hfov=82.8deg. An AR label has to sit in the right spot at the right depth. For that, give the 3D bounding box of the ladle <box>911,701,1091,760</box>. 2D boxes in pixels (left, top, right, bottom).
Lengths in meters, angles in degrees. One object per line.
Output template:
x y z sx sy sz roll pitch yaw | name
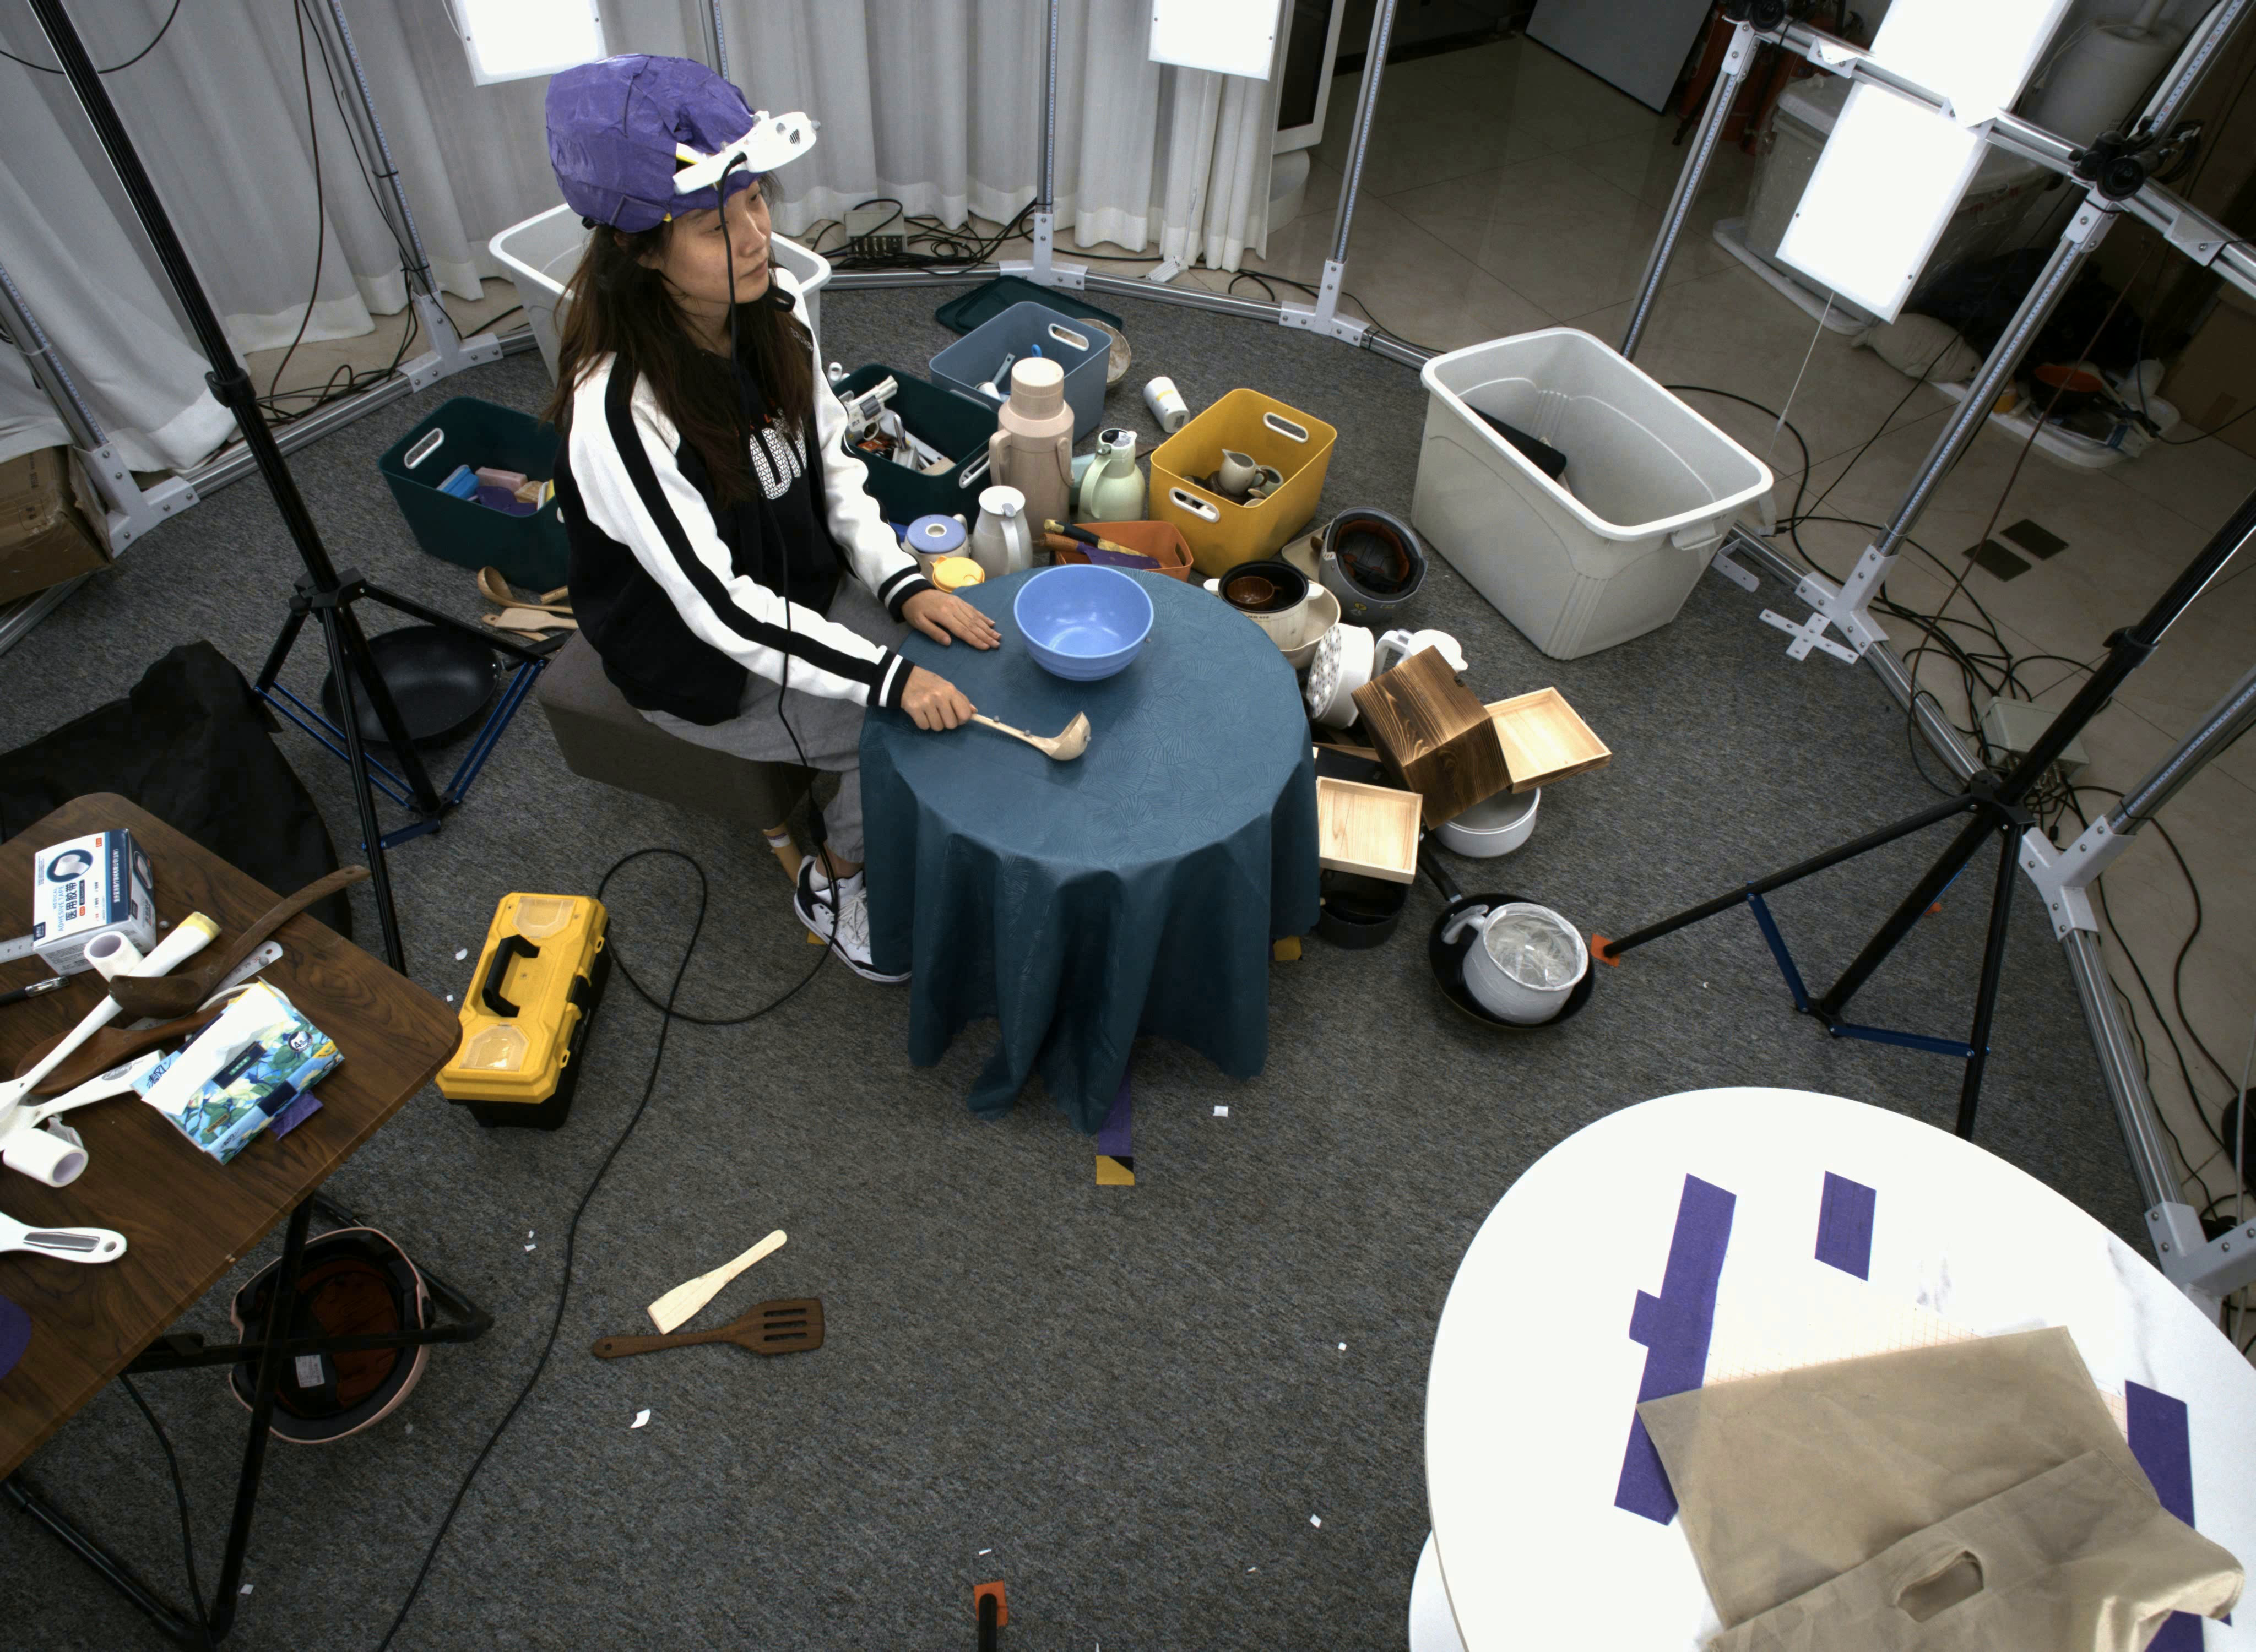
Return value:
-0.175 -0.154 1.740 0.255 0.071 0.073 18 46 8 | ladle

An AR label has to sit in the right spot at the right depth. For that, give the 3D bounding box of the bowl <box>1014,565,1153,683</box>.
-0.064 -0.274 1.846 0.196 0.093 0.201 1 51 -2 | bowl
